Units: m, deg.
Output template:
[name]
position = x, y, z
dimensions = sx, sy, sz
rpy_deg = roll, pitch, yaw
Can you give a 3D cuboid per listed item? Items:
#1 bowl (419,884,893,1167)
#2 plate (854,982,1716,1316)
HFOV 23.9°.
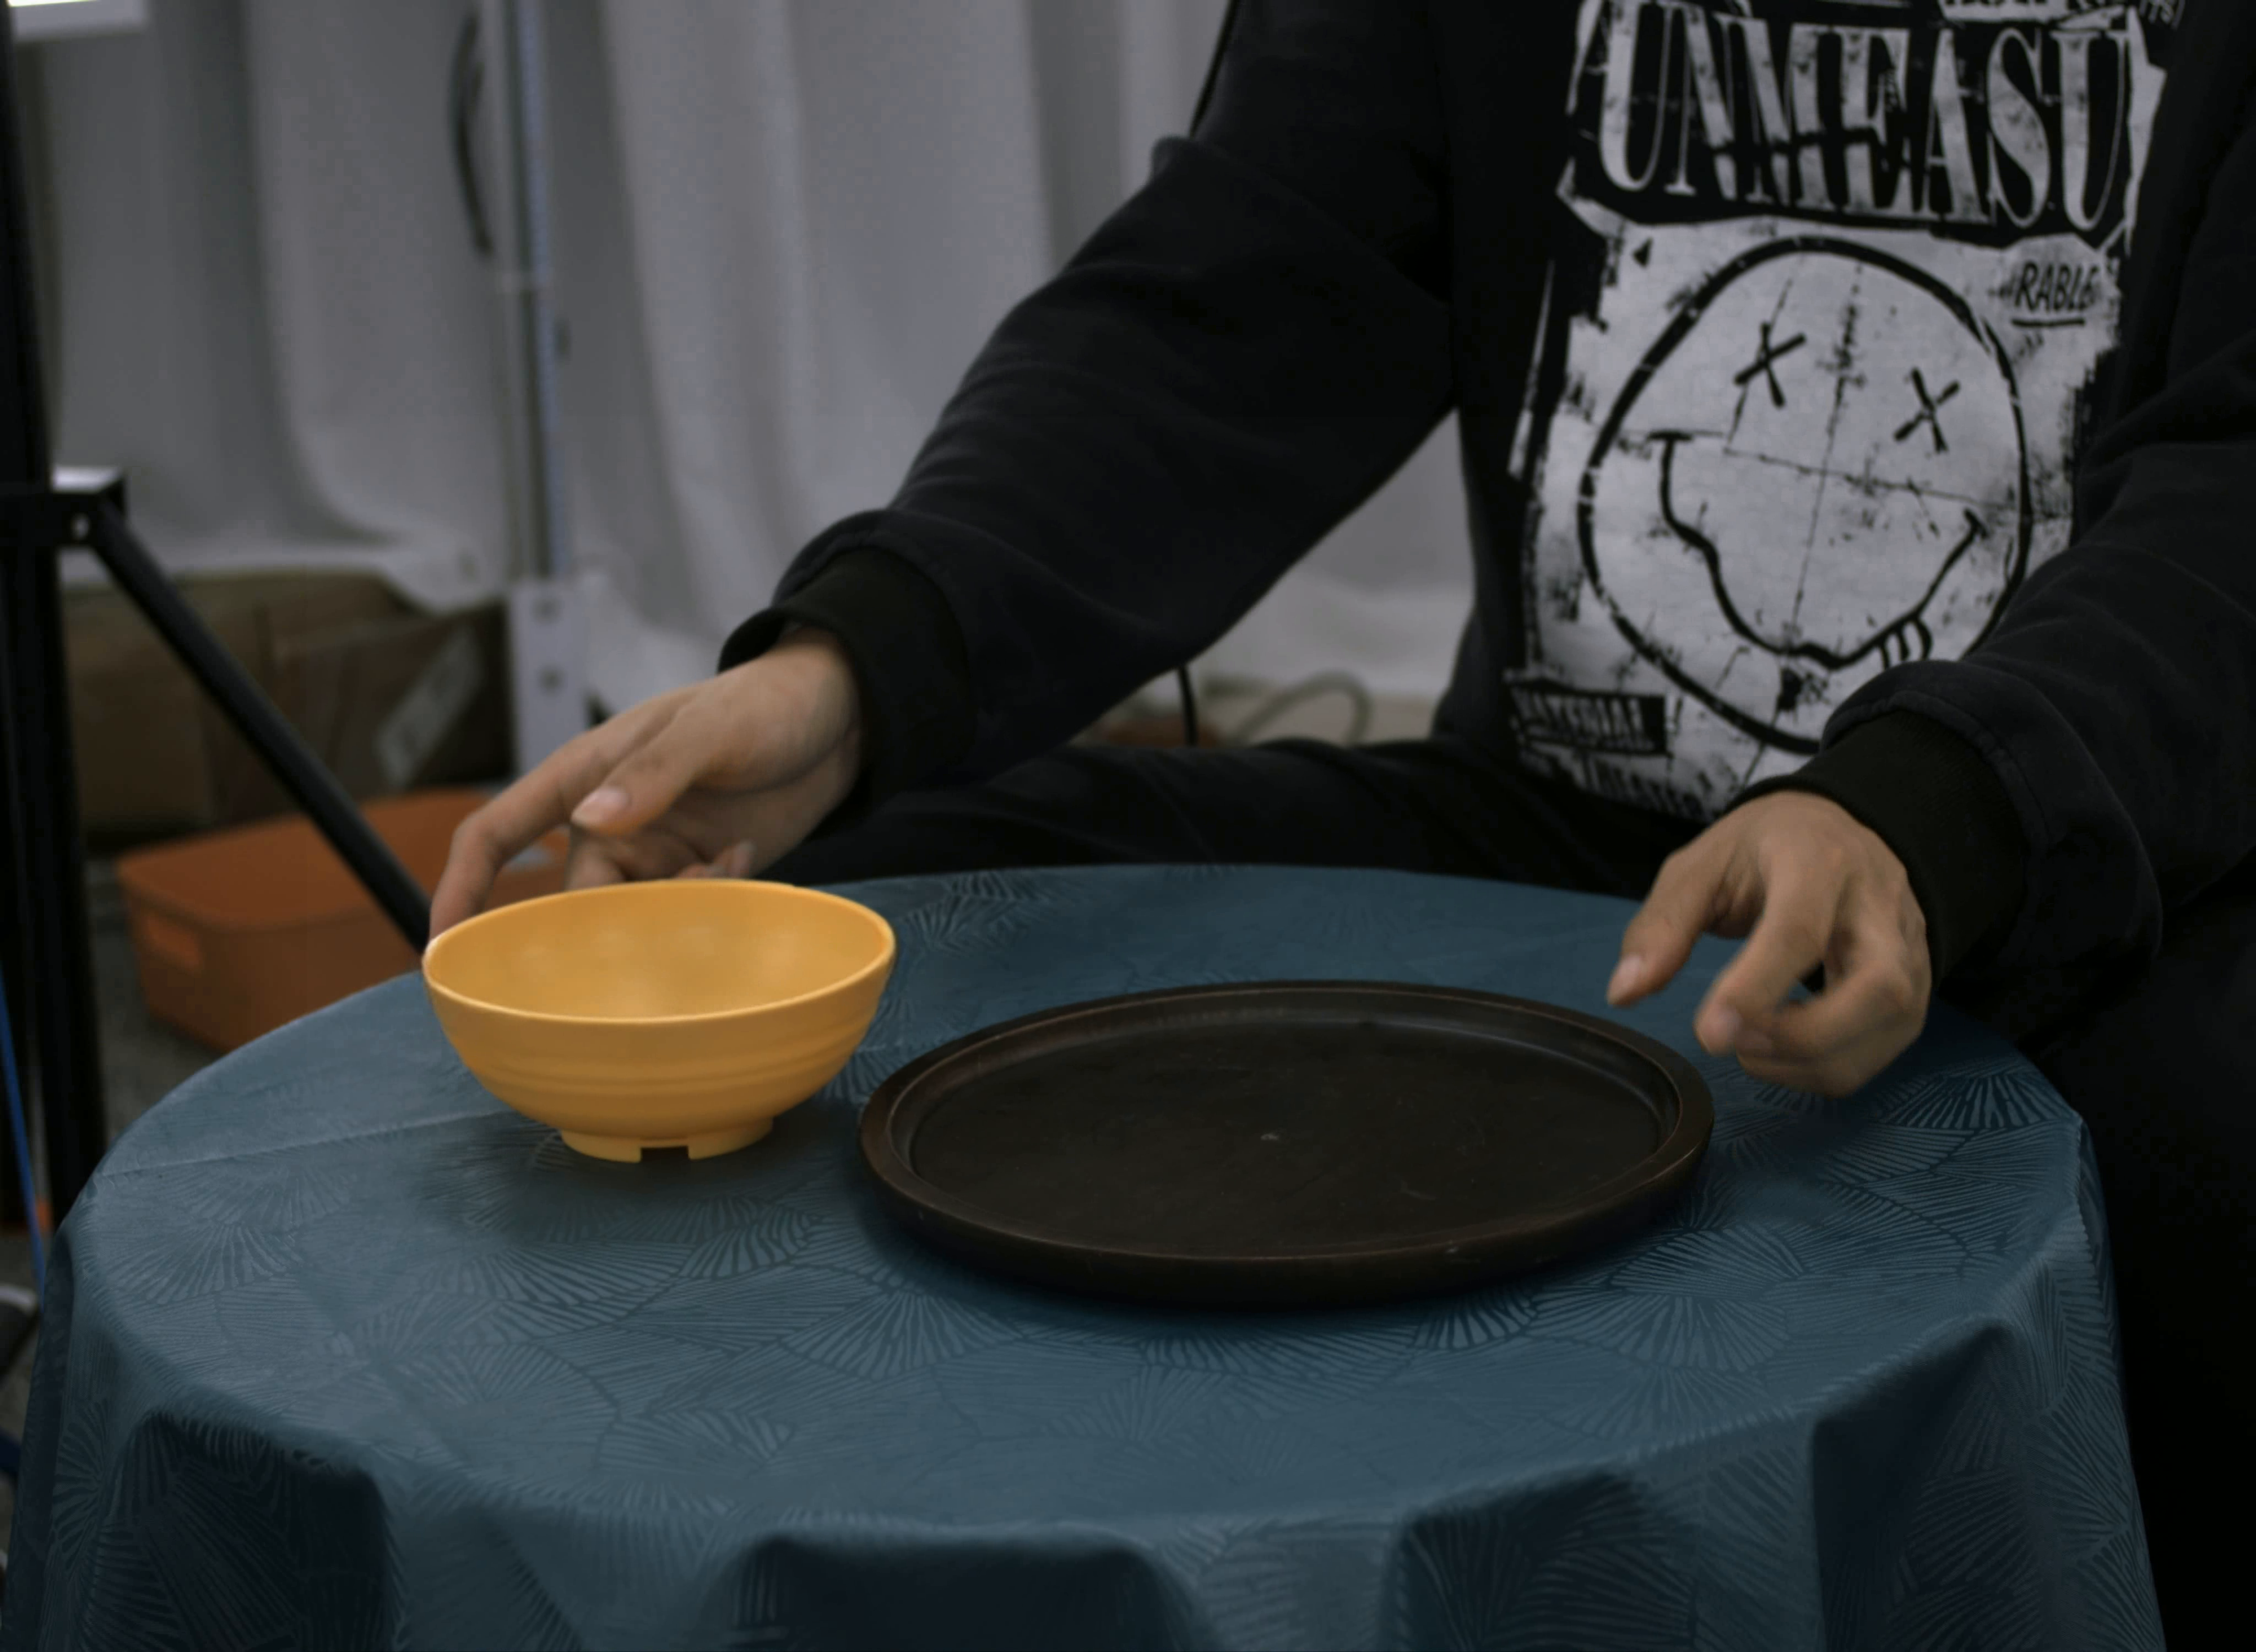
[bowl]
position = -0.144, 0.066, 1.629
dimensions = 0.144, 0.060, 0.146
rpy_deg = 0, 15, -1
[plate]
position = 0.047, 0.093, 1.561
dimensions = 0.253, 0.029, 0.256
rpy_deg = -3, 14, -1
